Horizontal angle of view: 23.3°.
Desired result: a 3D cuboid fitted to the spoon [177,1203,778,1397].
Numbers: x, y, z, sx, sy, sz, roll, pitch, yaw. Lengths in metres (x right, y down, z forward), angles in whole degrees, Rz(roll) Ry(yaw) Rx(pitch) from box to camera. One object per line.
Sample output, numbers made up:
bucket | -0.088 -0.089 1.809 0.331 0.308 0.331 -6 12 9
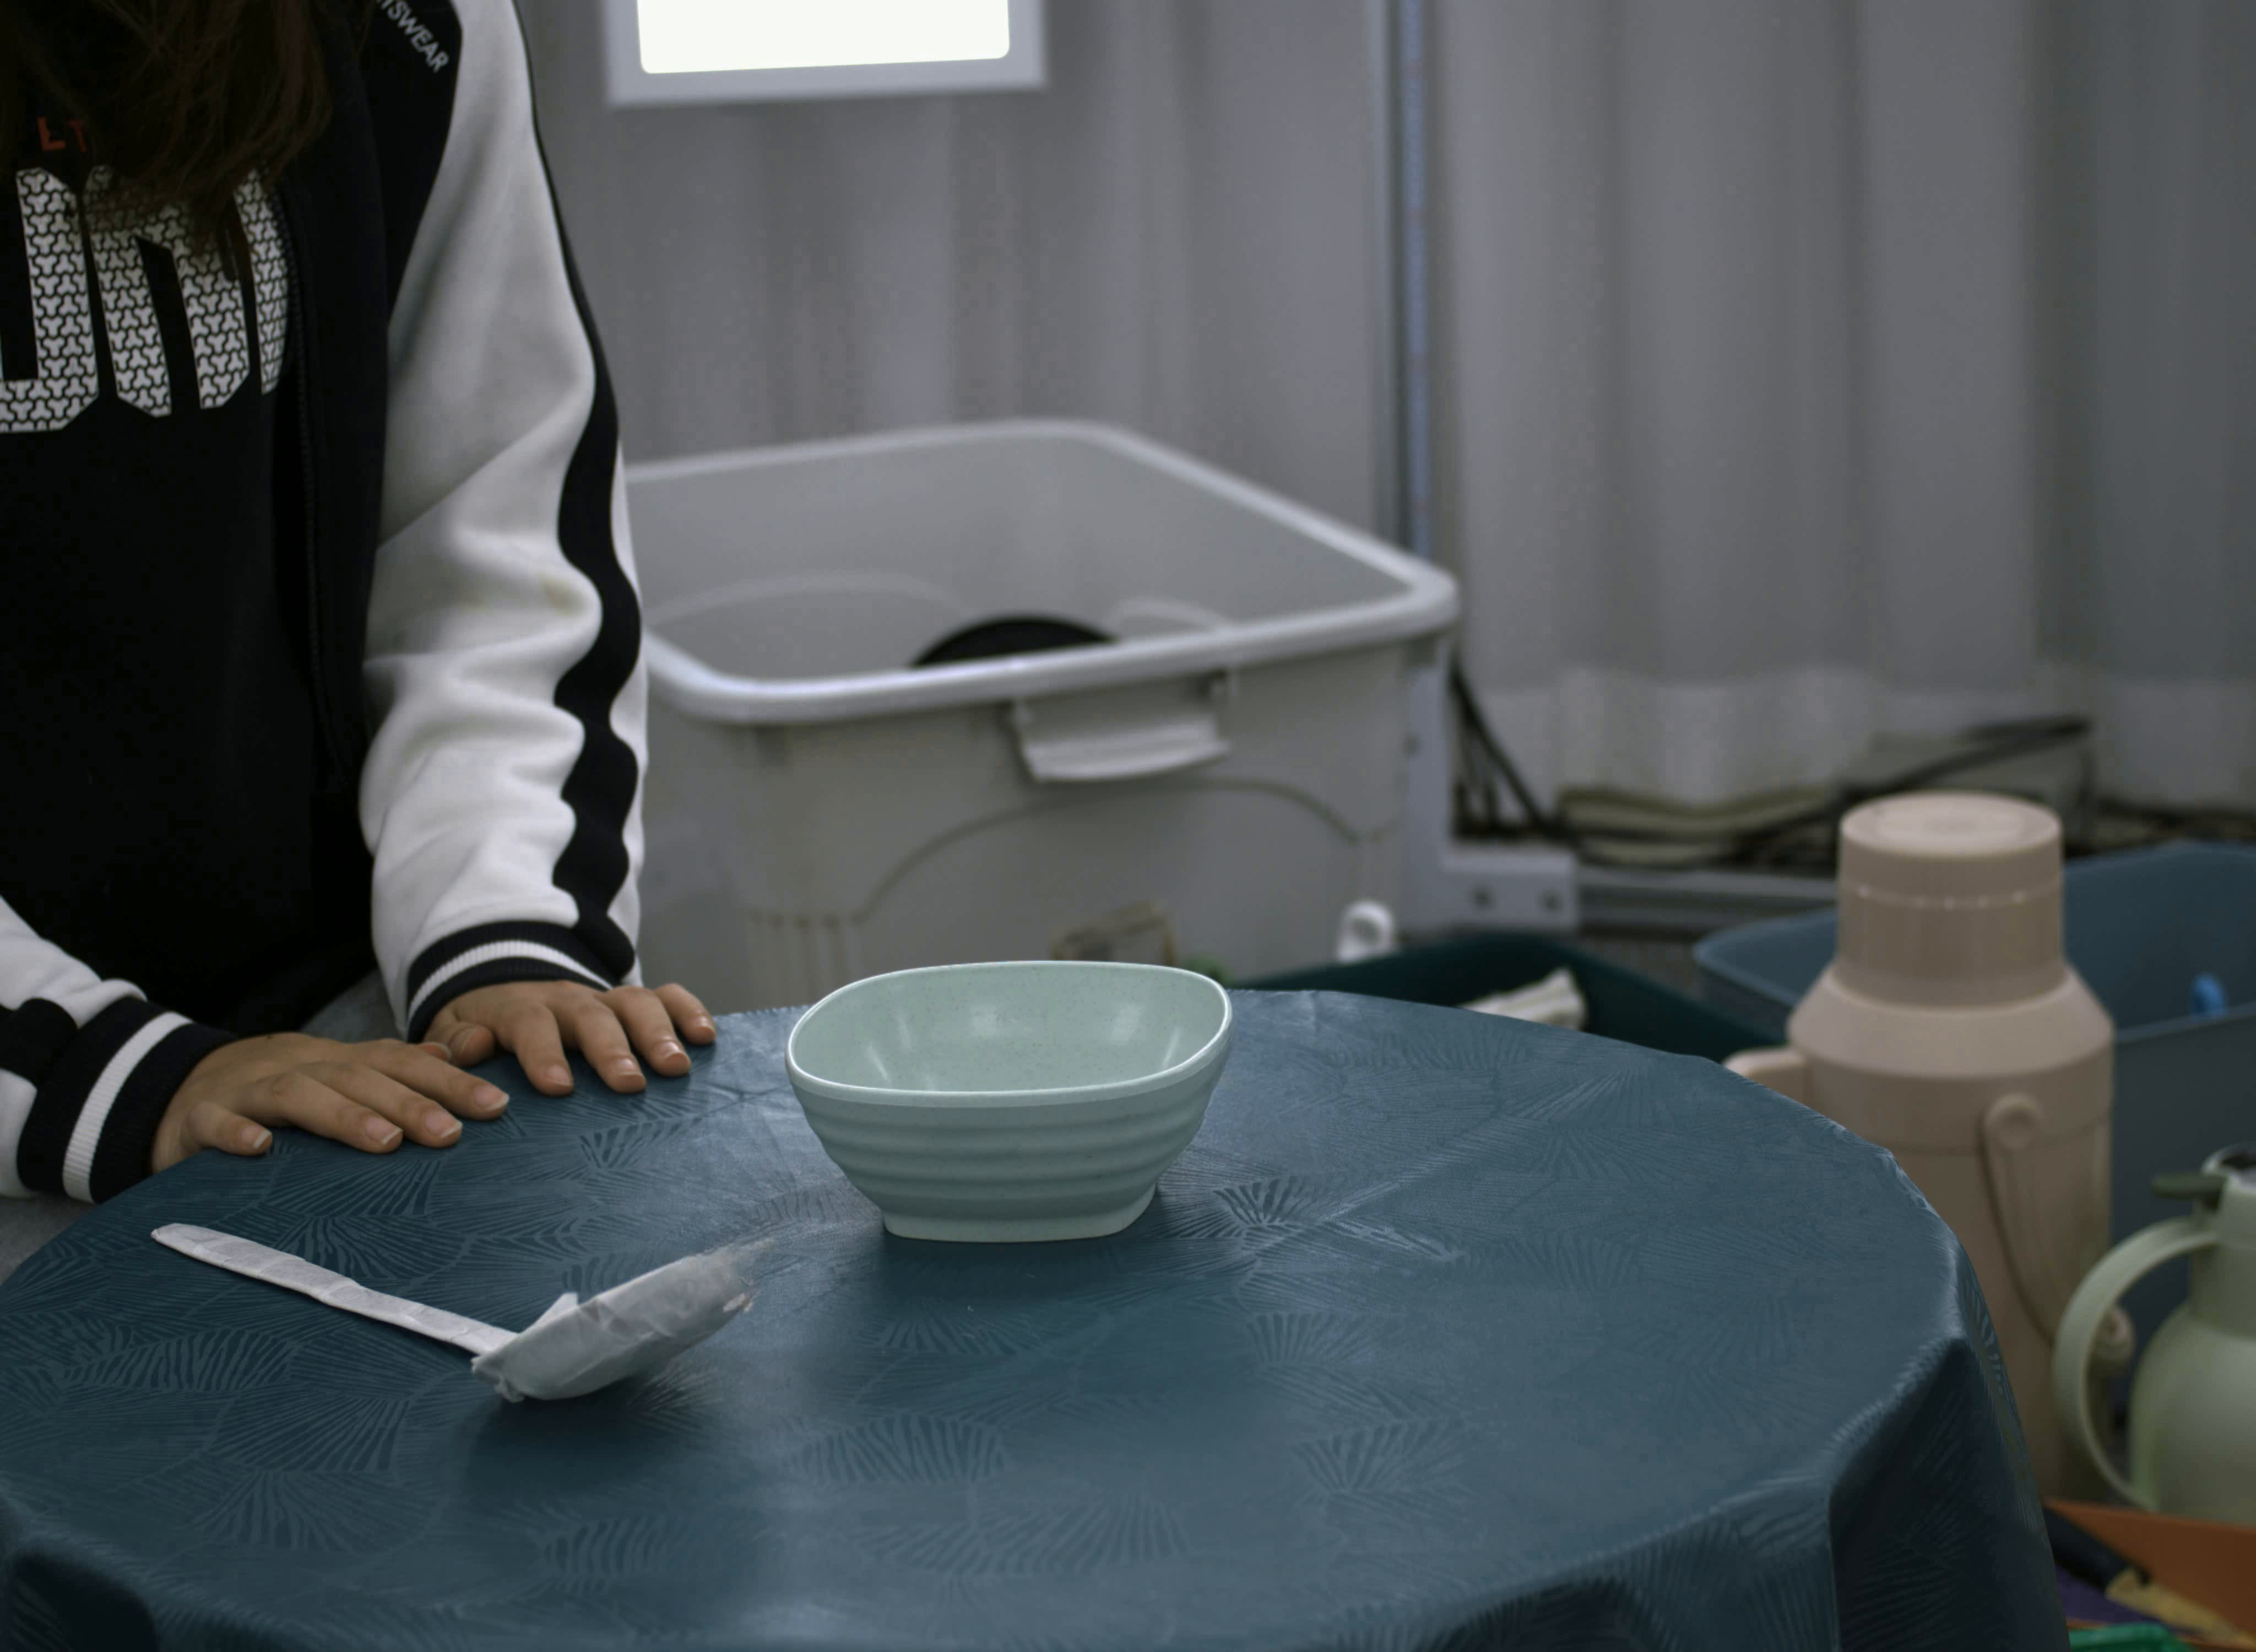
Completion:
spoon | -0.204 0.120 1.623 0.100 0.059 0.279 -9 15 -39

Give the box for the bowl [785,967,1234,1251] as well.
bowl | -0.035 0.091 1.706 0.151 0.058 0.152 -3 15 0
